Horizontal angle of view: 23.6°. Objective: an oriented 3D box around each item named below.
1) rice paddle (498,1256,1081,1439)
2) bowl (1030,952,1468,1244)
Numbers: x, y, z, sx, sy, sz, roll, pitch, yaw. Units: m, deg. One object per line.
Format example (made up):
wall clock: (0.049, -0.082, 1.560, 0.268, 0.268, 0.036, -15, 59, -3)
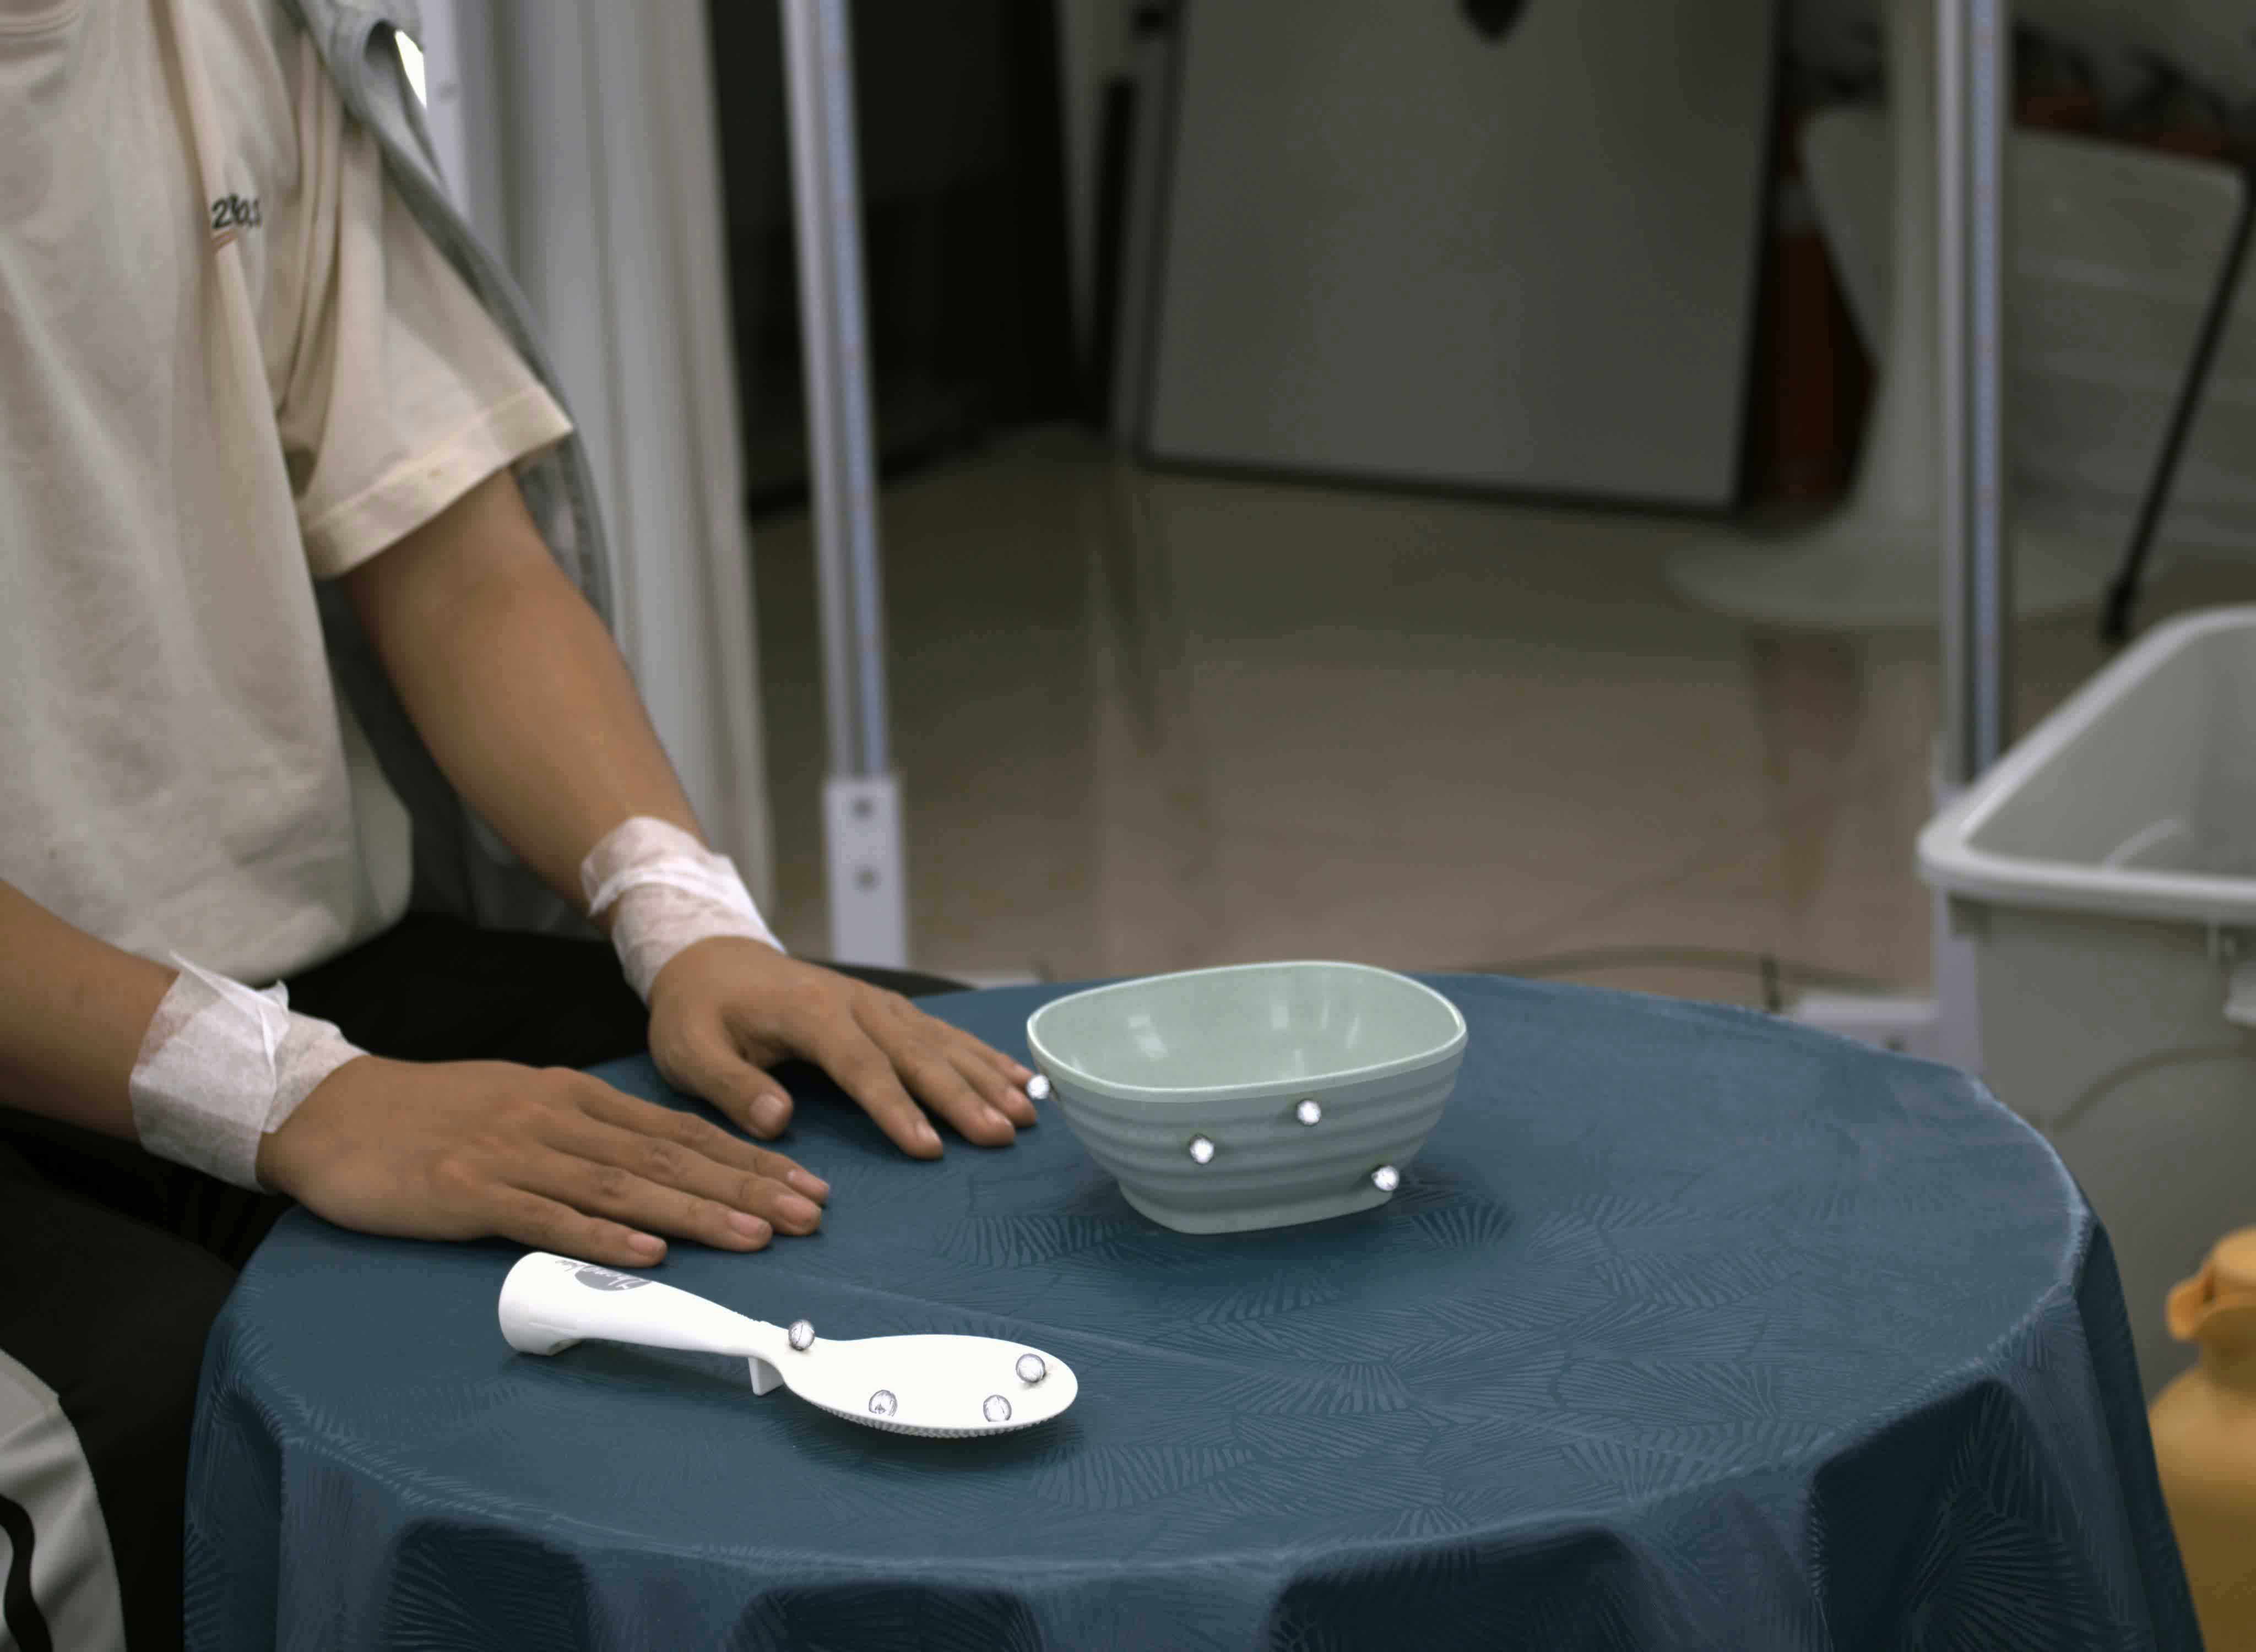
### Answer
rice paddle: (-0.101, 0.155, 1.601, 0.206, 0.030, 0.067, 6, 18, 36)
bowl: (0.040, 0.092, 1.760, 0.149, 0.059, 0.152, -4, 17, 0)
